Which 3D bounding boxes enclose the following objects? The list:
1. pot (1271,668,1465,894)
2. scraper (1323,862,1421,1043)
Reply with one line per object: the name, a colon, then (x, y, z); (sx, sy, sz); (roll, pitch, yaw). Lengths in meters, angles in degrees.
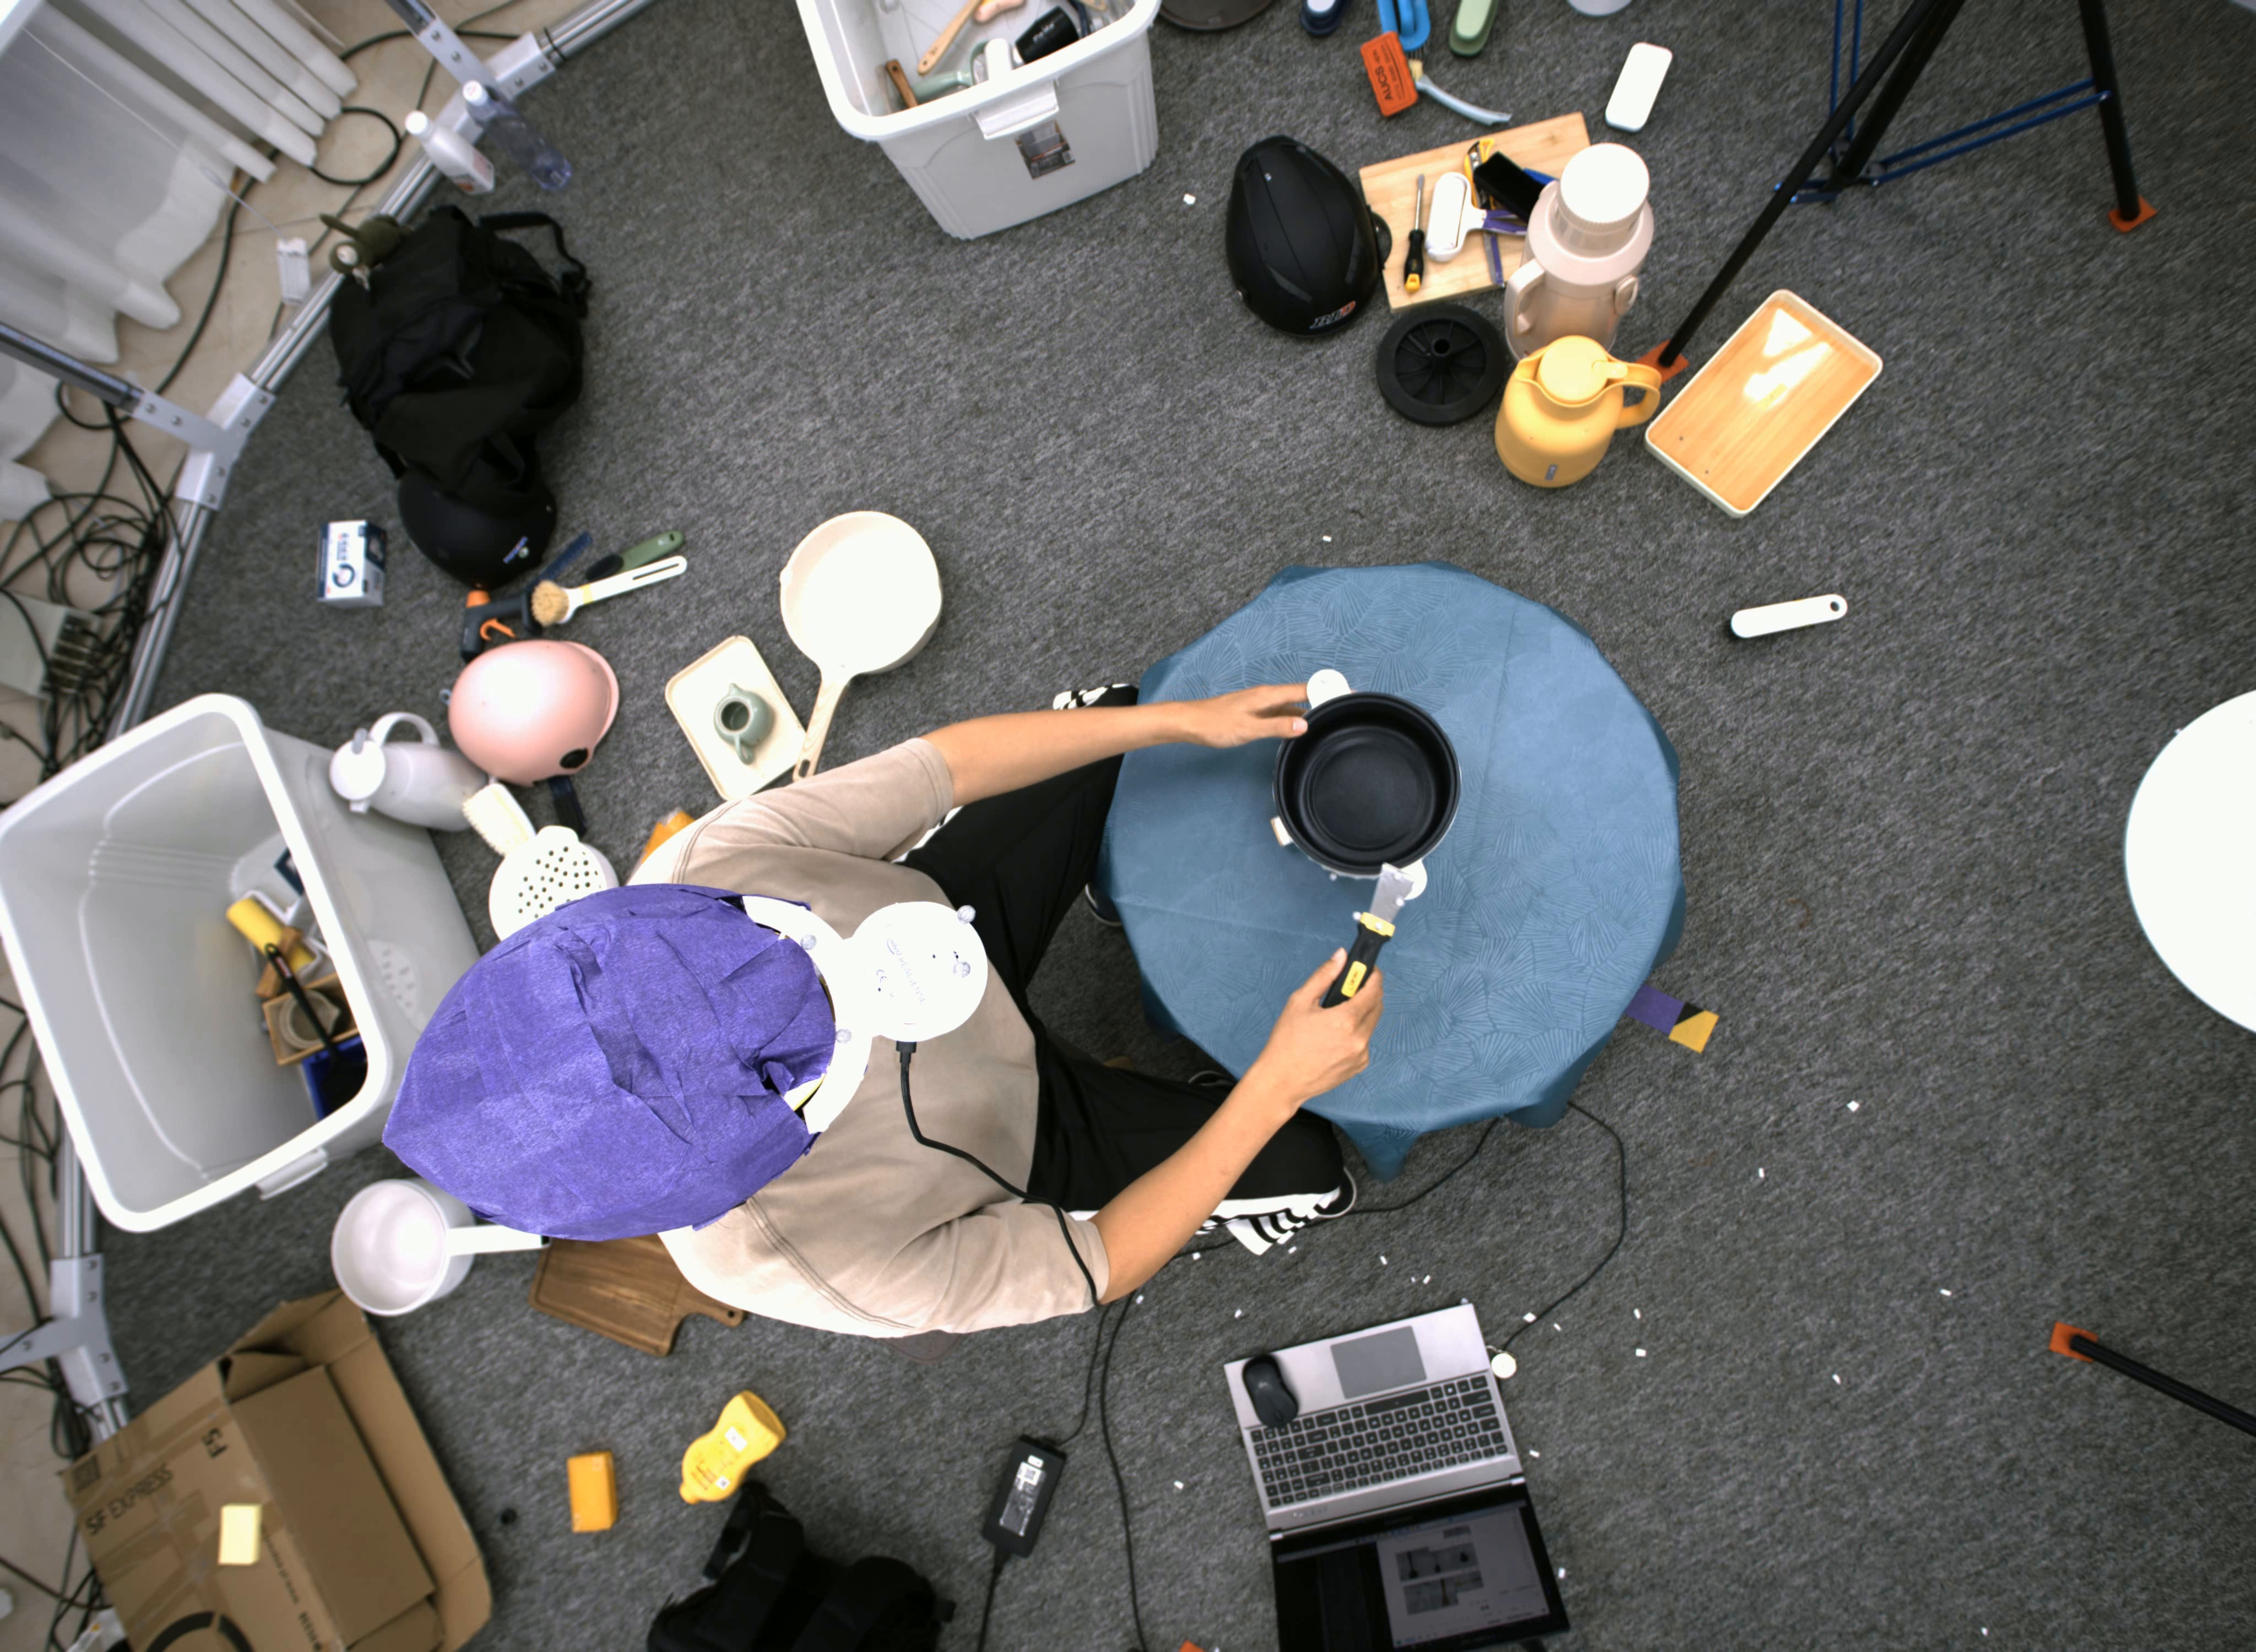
pot: (0.238, -0.035, 1.403); (0.191, 0.143, 0.238); (-22, 81, 4)
scraper: (0.220, 0.116, 1.260); (0.039, 0.015, 0.170); (23, 88, -4)
